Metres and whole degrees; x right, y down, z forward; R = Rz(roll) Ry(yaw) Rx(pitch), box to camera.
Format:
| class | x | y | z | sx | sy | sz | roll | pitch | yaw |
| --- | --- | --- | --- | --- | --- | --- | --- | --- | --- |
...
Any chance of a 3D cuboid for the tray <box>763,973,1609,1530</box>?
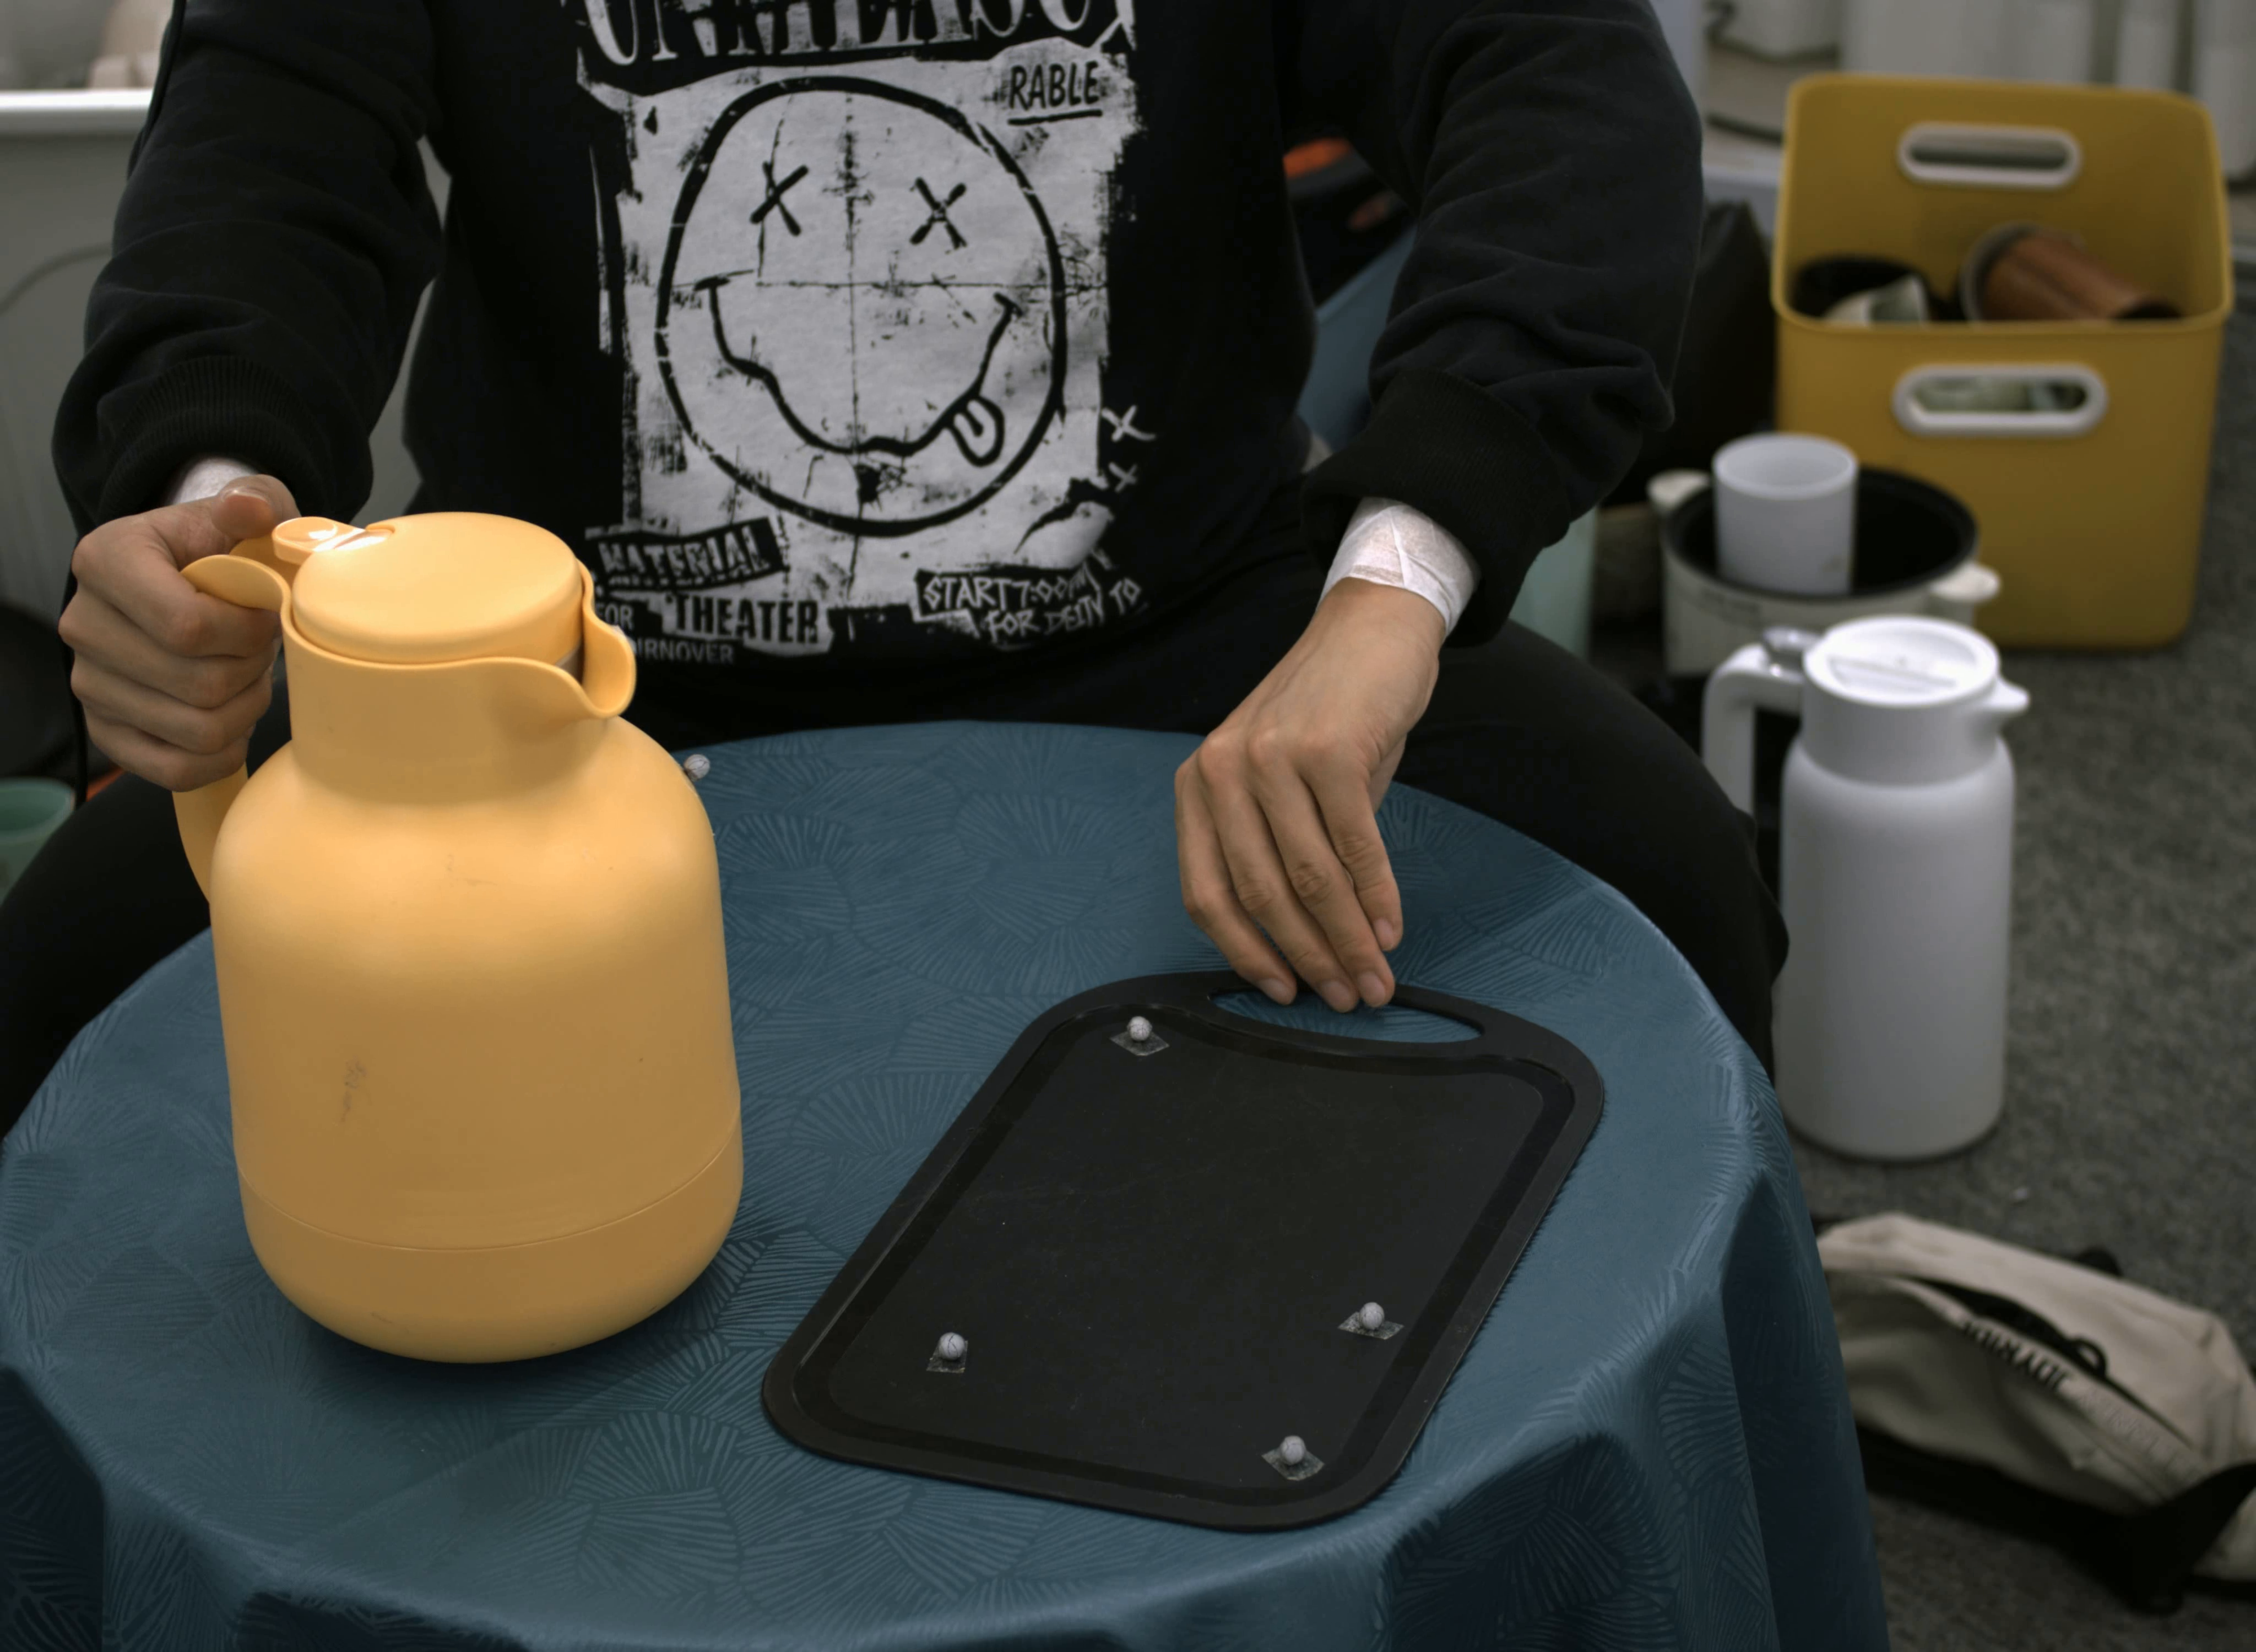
| class | x | y | z | sx | sy | sz | roll | pitch | yaw |
| --- | --- | --- | --- | --- | --- | --- | --- | --- | --- |
| tray | 0.026 | 0.127 | 1.837 | 0.209 | 0.009 | 0.331 | 8 | 29 | 20 |

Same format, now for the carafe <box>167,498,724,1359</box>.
| class | x | y | z | sx | sy | sz | roll | pitch | yaw |
| --- | --- | --- | --- | --- | --- | --- | --- | --- | --- |
| carafe | -0.224 | 0.022 | 1.787 | 0.202 | 0.257 | 0.165 | 22 | 32 | 35 |
